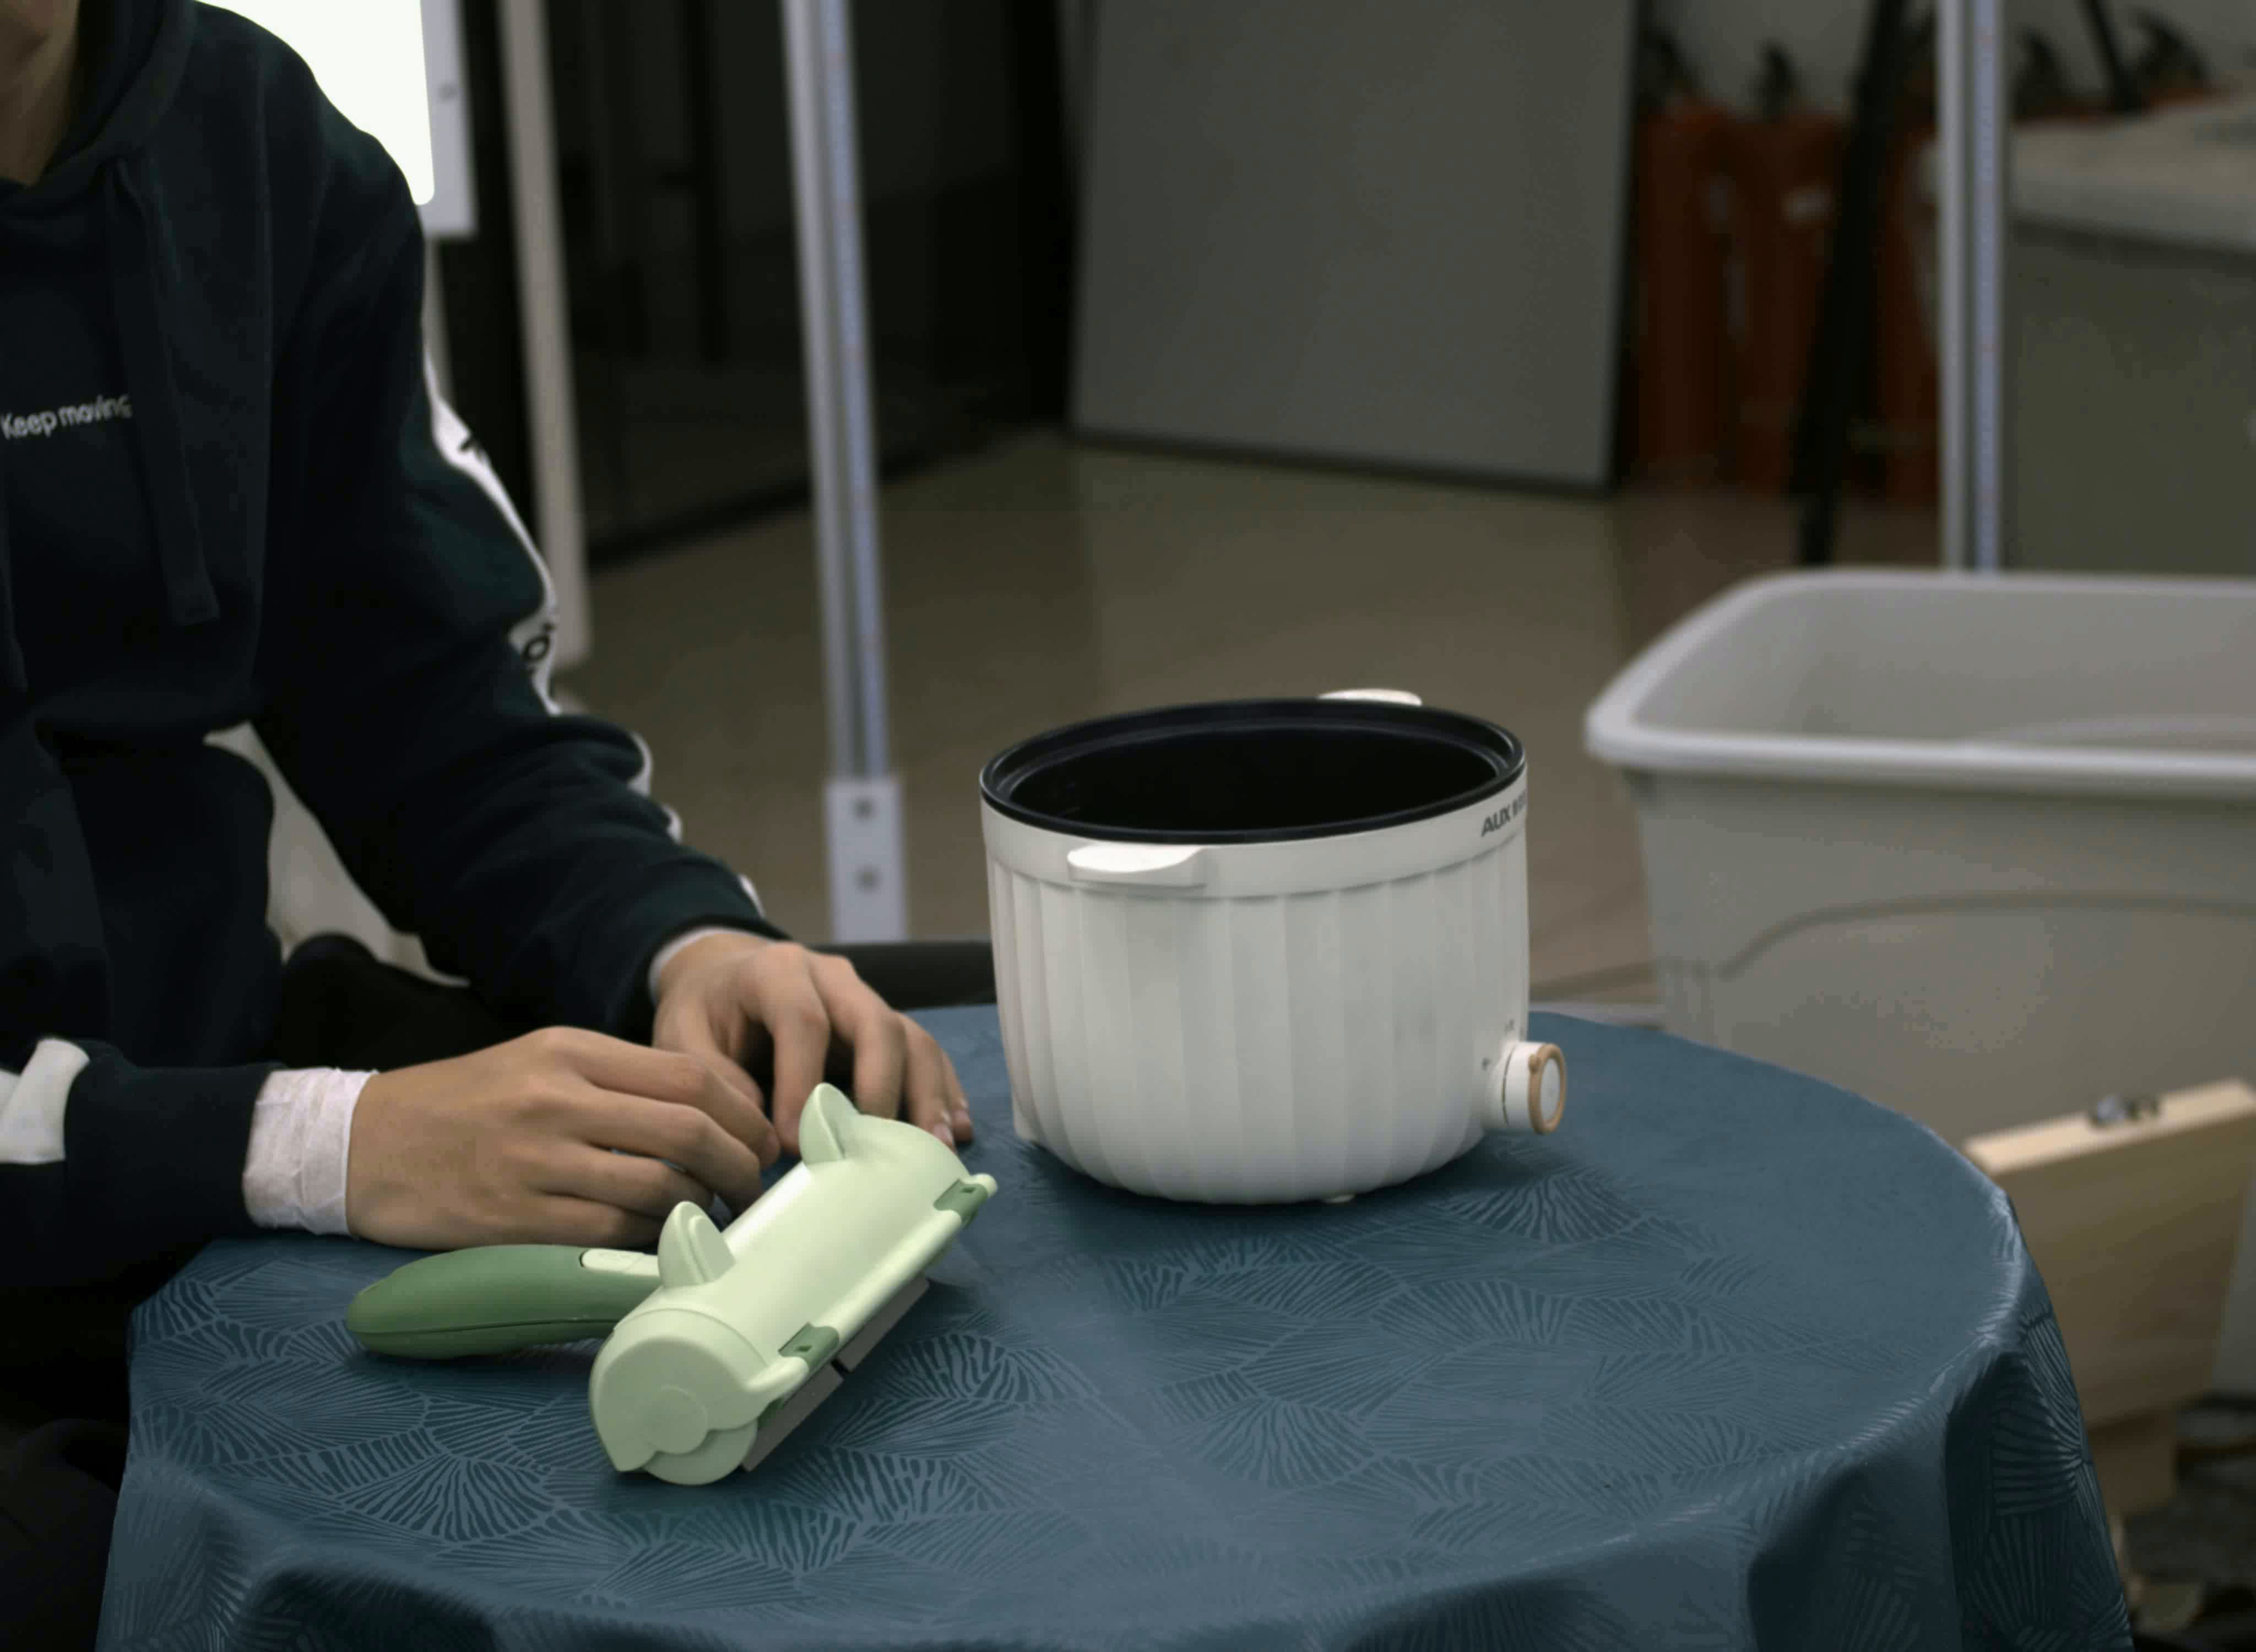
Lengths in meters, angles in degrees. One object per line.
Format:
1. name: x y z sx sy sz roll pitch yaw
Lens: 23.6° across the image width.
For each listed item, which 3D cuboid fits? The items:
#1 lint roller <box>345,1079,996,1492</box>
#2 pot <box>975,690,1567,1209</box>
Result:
1. lint roller: -0.153 0.128 1.630 0.183 0.083 0.197 6 17 18
2. pot: 0.049 0.043 1.784 0.191 0.144 0.237 -1 15 25
